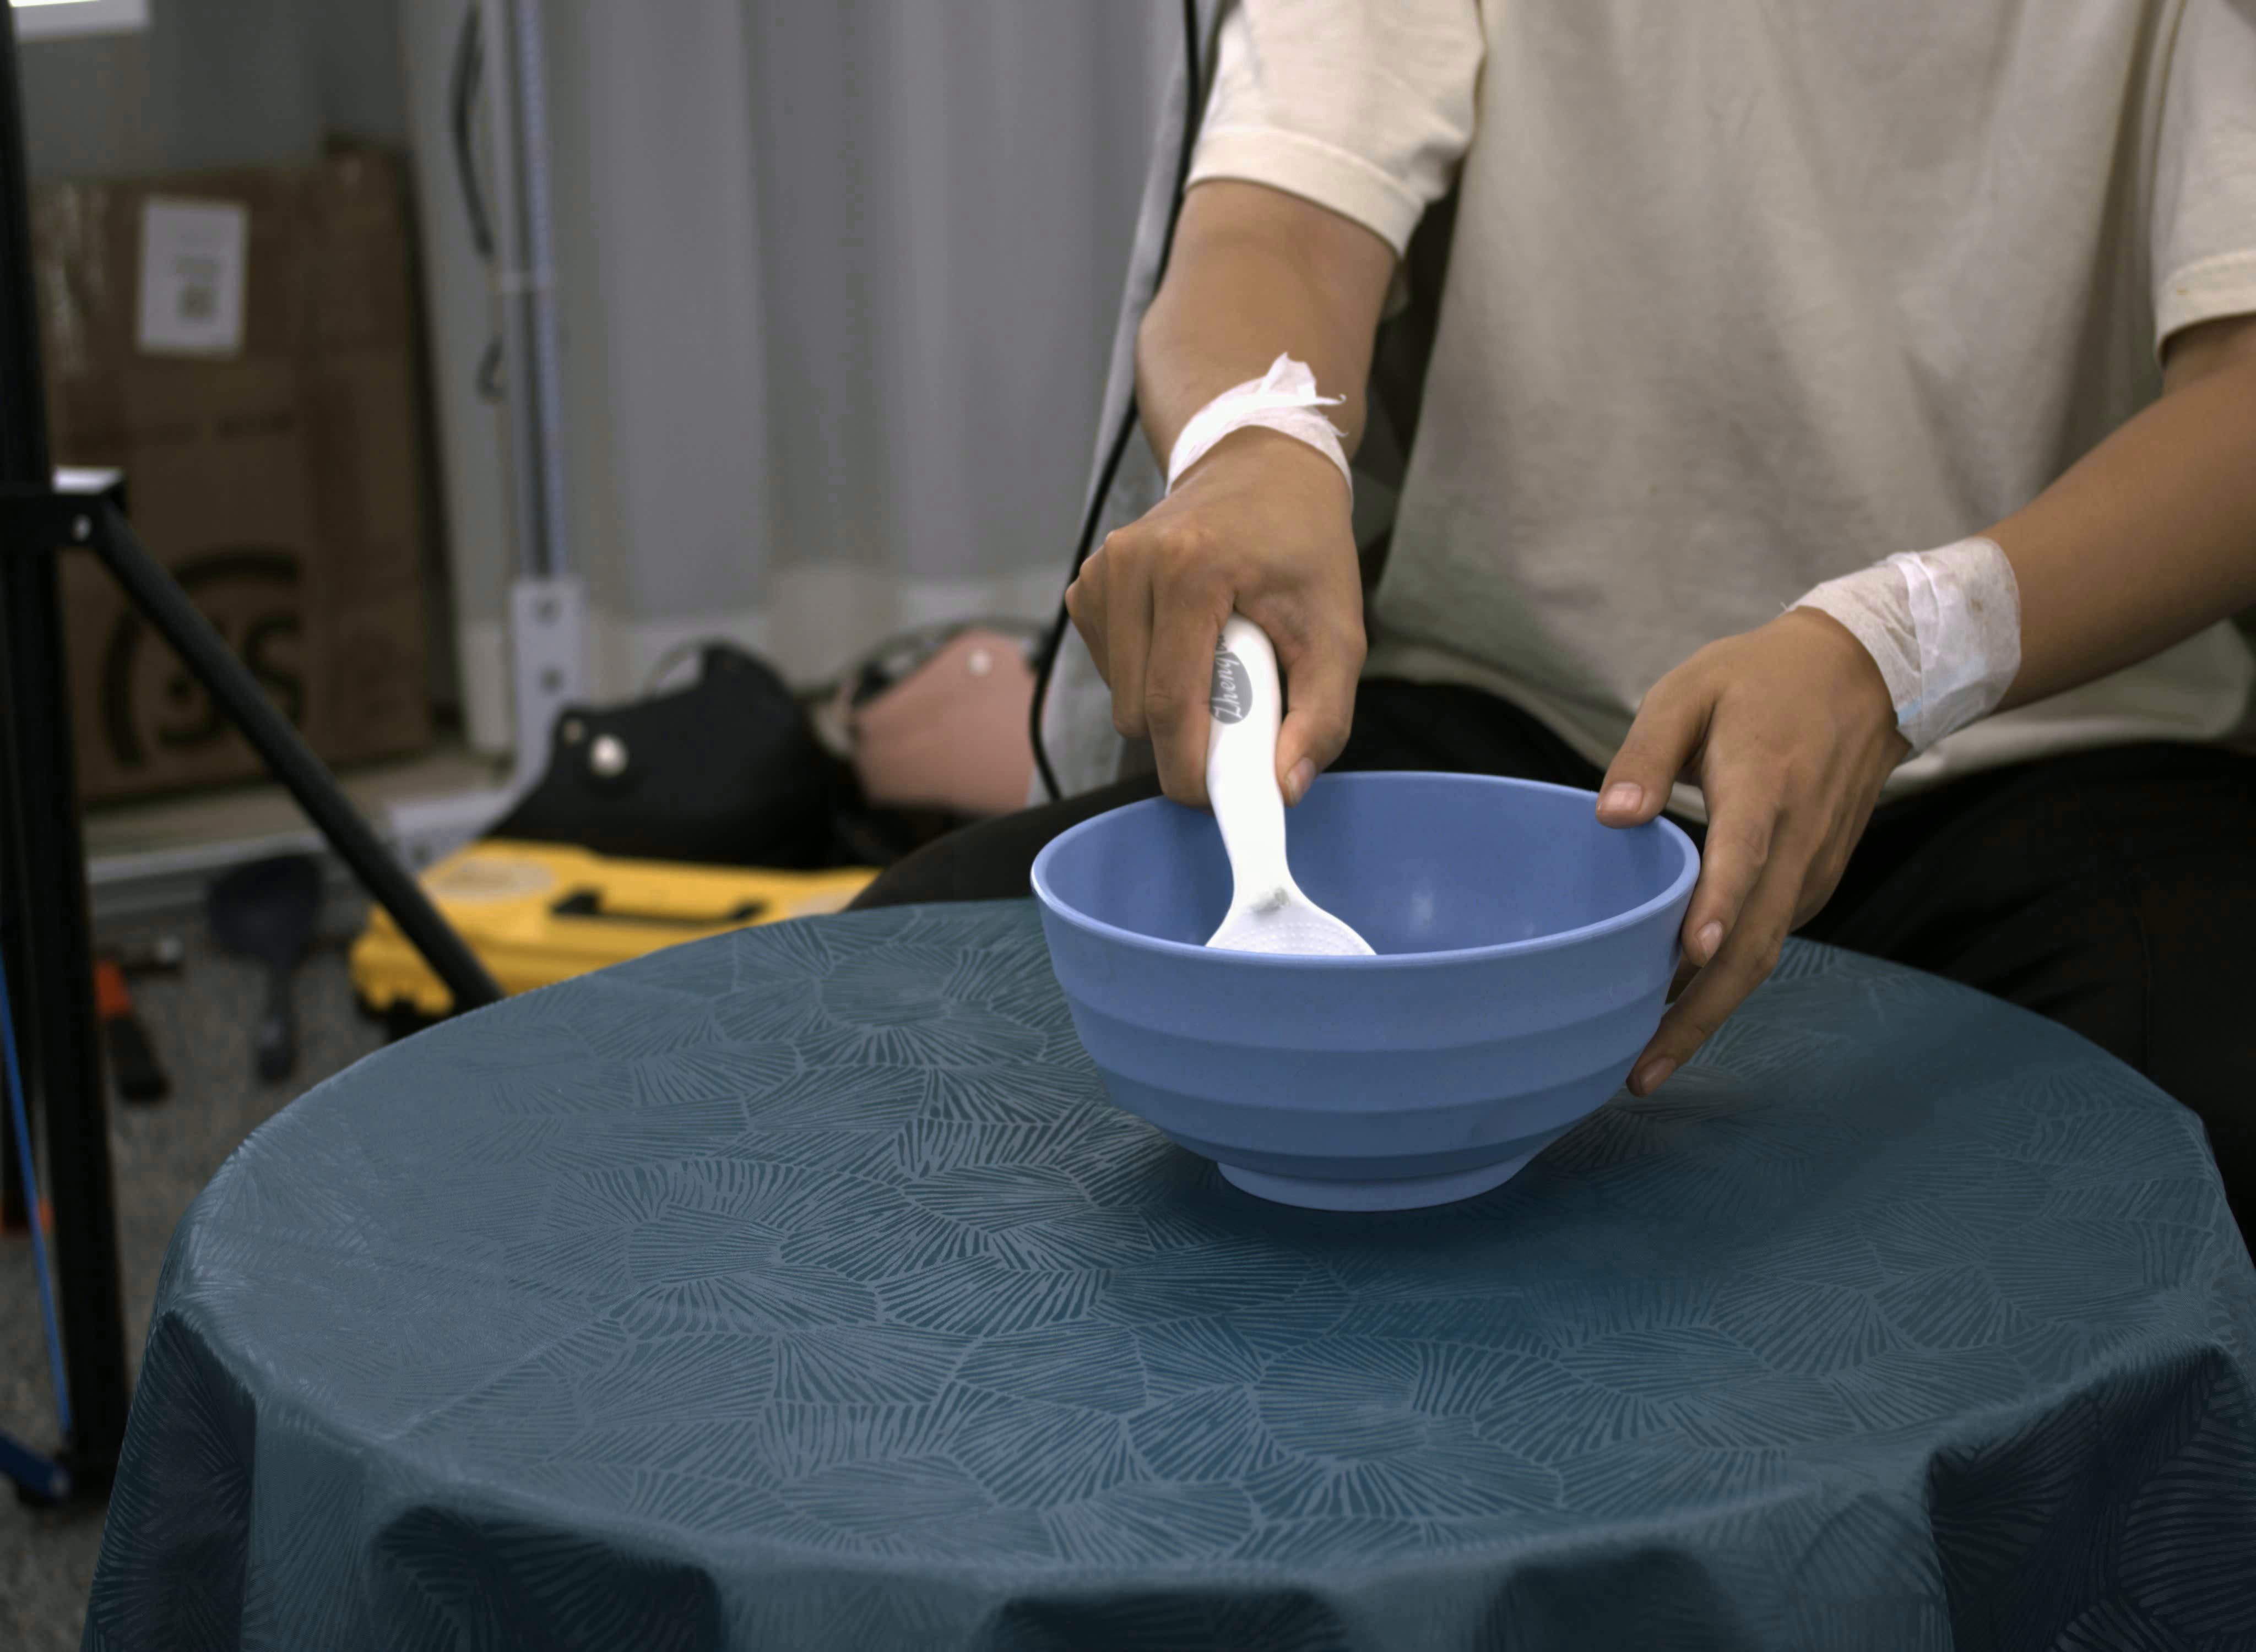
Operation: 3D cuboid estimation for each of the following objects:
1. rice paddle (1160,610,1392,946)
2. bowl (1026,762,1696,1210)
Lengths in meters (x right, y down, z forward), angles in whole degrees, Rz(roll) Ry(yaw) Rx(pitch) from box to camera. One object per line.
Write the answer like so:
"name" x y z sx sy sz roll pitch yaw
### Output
"rice paddle" 0.046 0.018 1.586 0.068 0.029 0.208 -10 49 -5
"bowl" 0.070 0.053 1.562 0.195 0.095 0.197 -4 17 0
